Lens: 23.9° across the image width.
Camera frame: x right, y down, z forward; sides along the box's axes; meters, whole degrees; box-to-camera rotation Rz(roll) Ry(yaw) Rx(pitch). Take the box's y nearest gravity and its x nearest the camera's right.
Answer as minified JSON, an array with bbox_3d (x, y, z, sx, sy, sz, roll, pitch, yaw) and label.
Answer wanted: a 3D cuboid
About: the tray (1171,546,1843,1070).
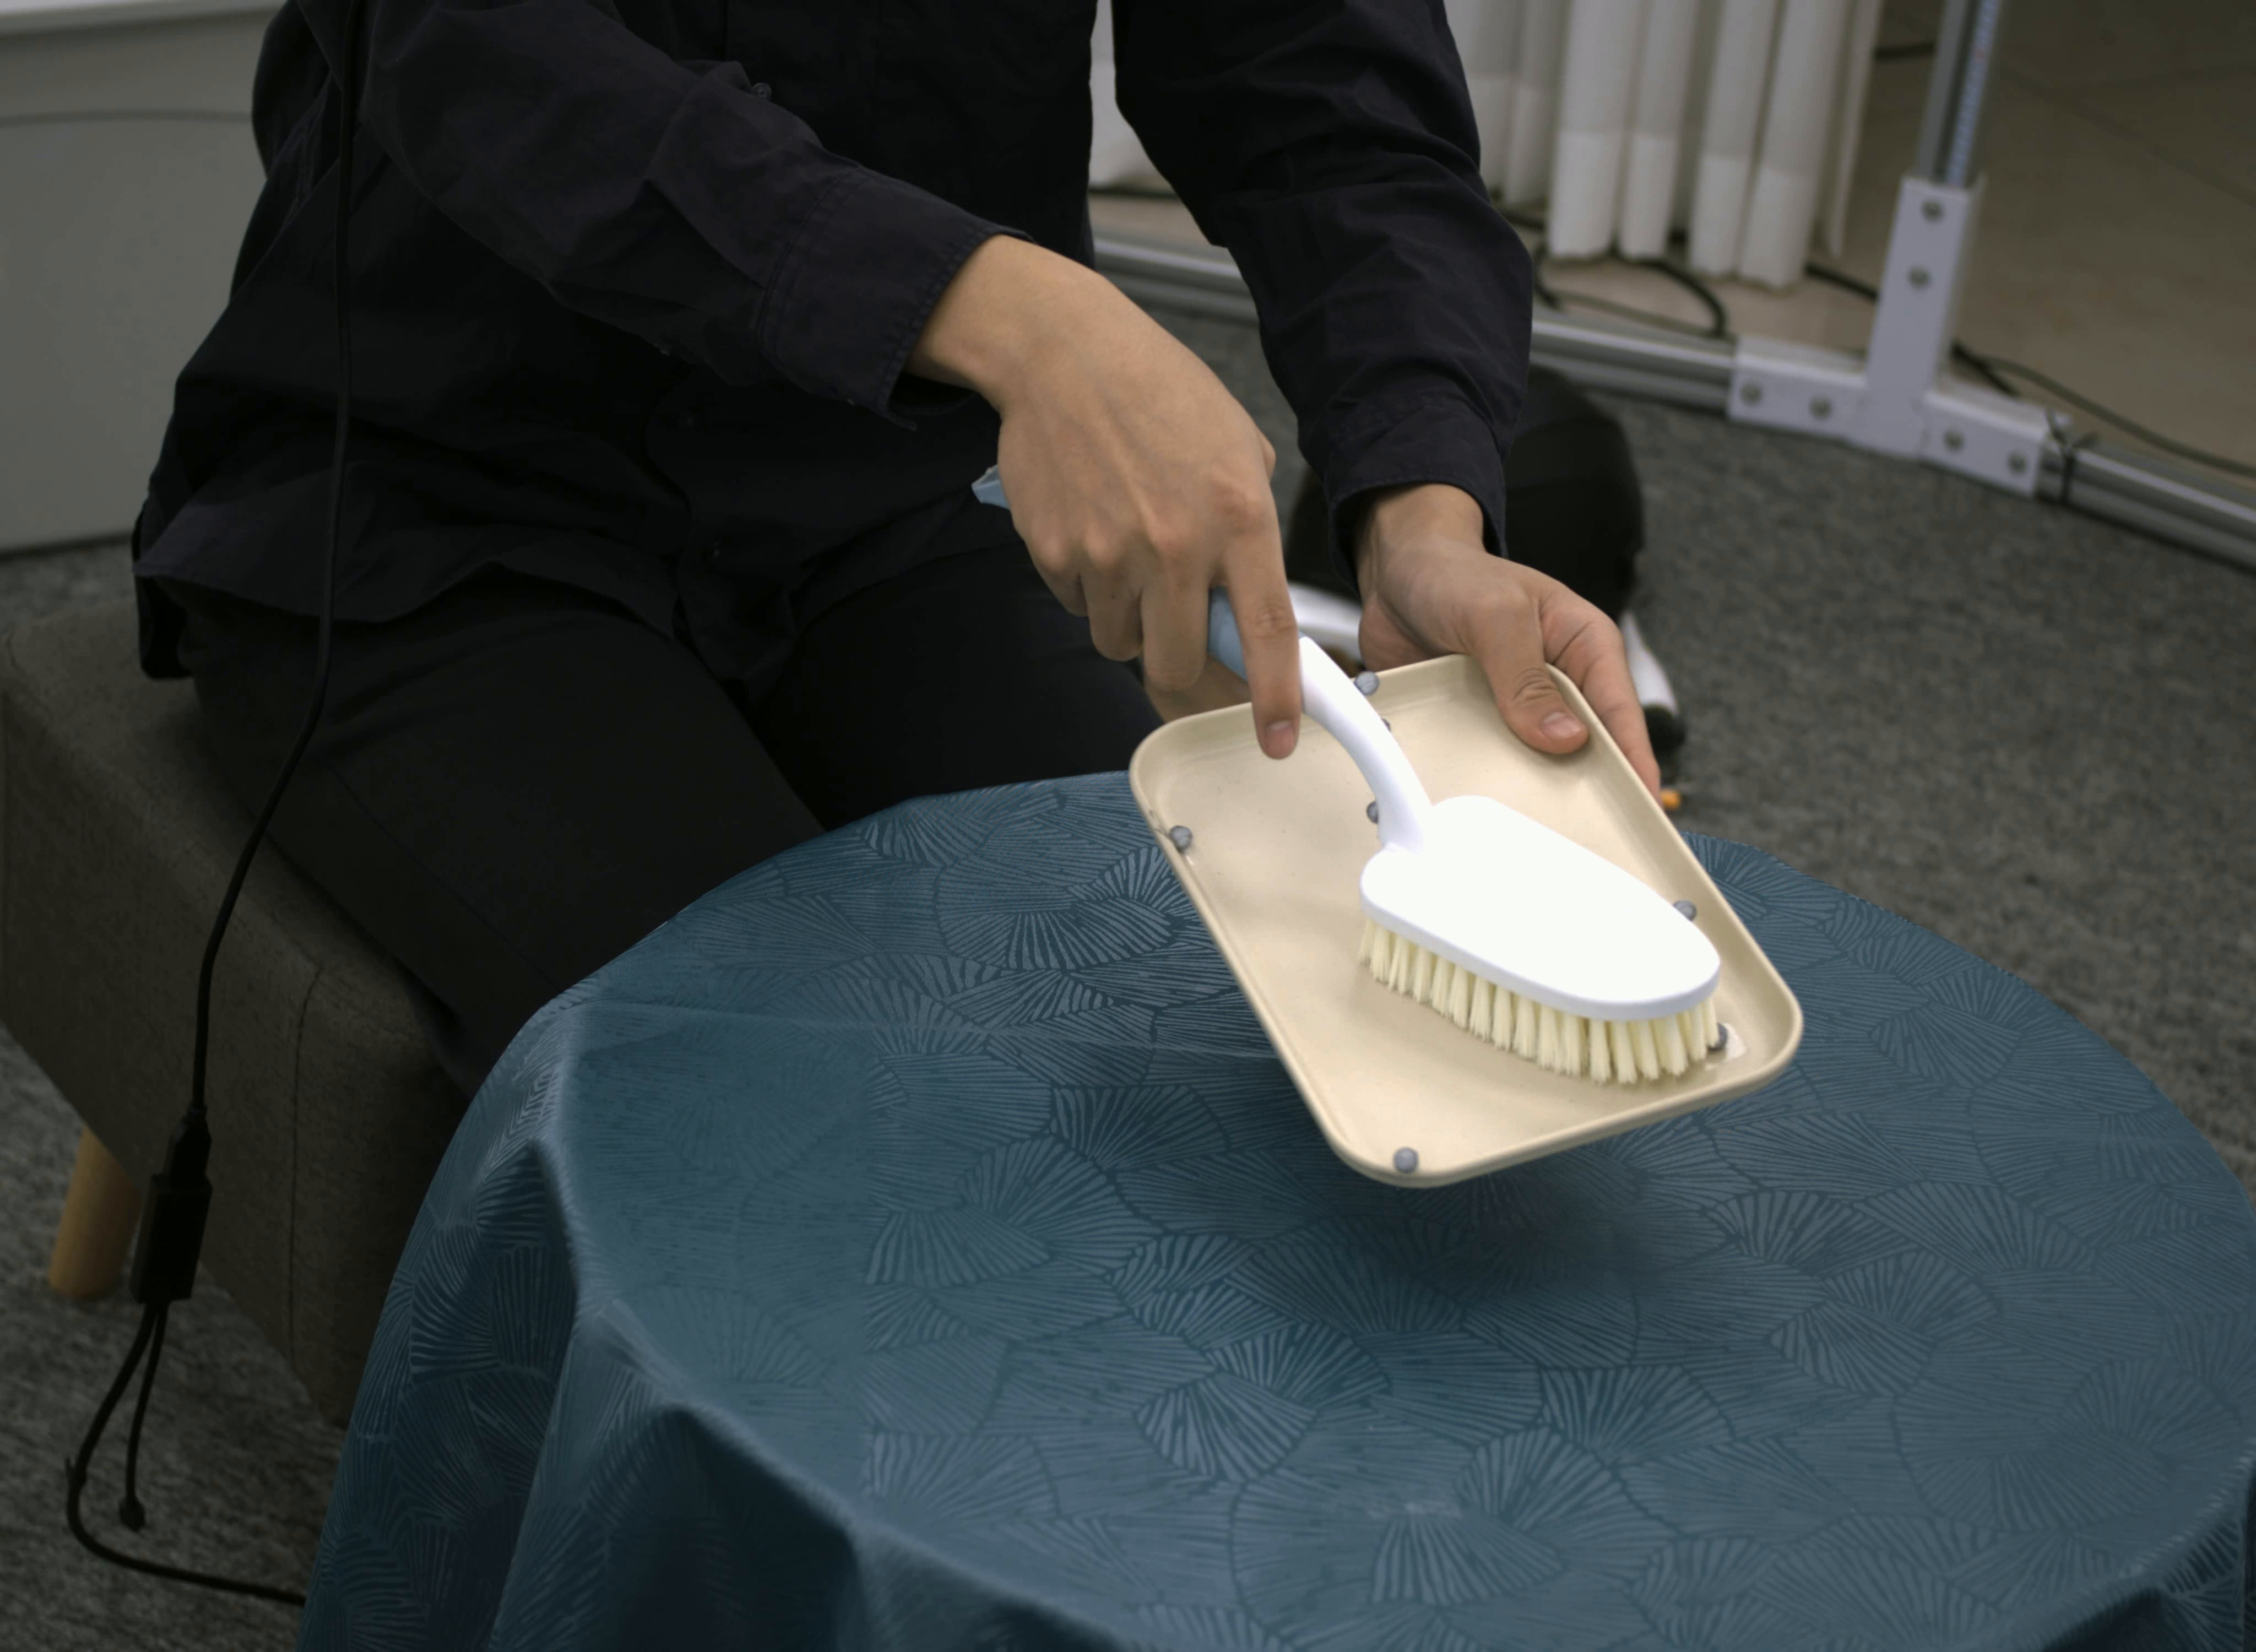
[{"bbox_3d":[0.128,-0.008,1.841,0.170,0.017,0.242,-15,43,-15],"label":"tray"}]

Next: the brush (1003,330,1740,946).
[{"bbox_3d":[0.079,-0.058,1.846,0.327,0.084,0.082,37,15,21],"label":"brush"}]
